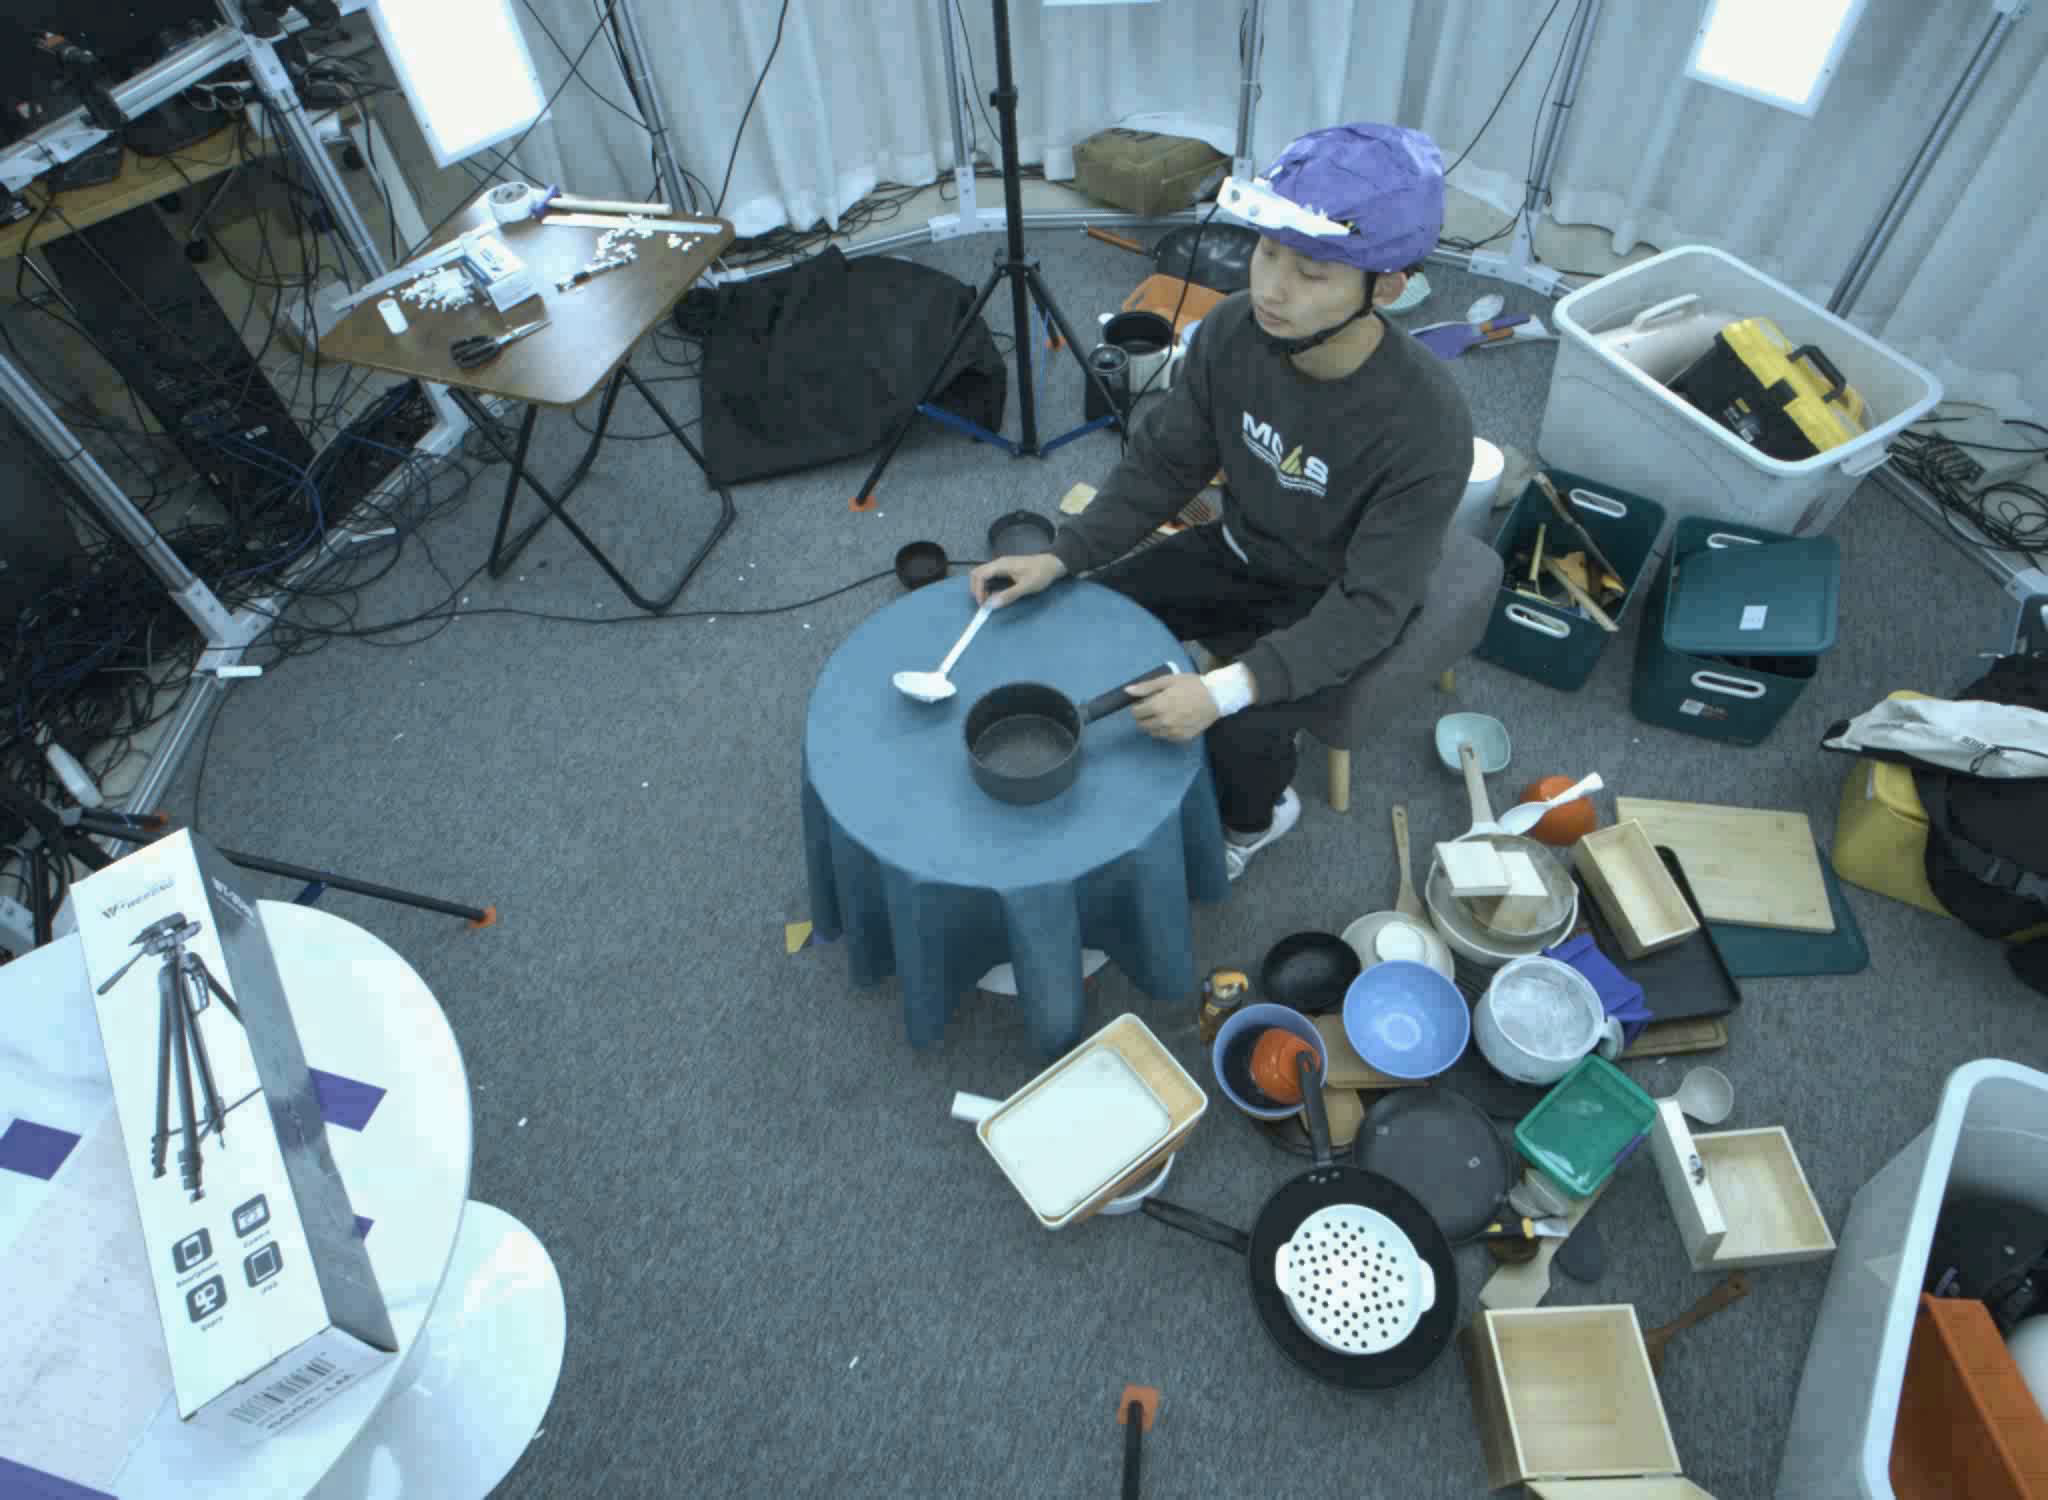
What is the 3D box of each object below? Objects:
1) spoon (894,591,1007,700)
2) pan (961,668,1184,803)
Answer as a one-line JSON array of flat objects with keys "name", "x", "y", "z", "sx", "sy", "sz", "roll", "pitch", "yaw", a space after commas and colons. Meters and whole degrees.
[{"name": "spoon", "x": -0.097, "y": -0.169, "z": 1.883, "sx": 0.099, "sy": 0.060, "sz": 0.278, "roll": 25, "pitch": 59, "yaw": 16}, {"name": "pan", "x": 0.073, "y": -0.036, "z": 1.768, "sx": 0.331, "sy": 0.087, "sz": 0.169, "roll": -18, "pitch": 57, "yaw": -10}]
